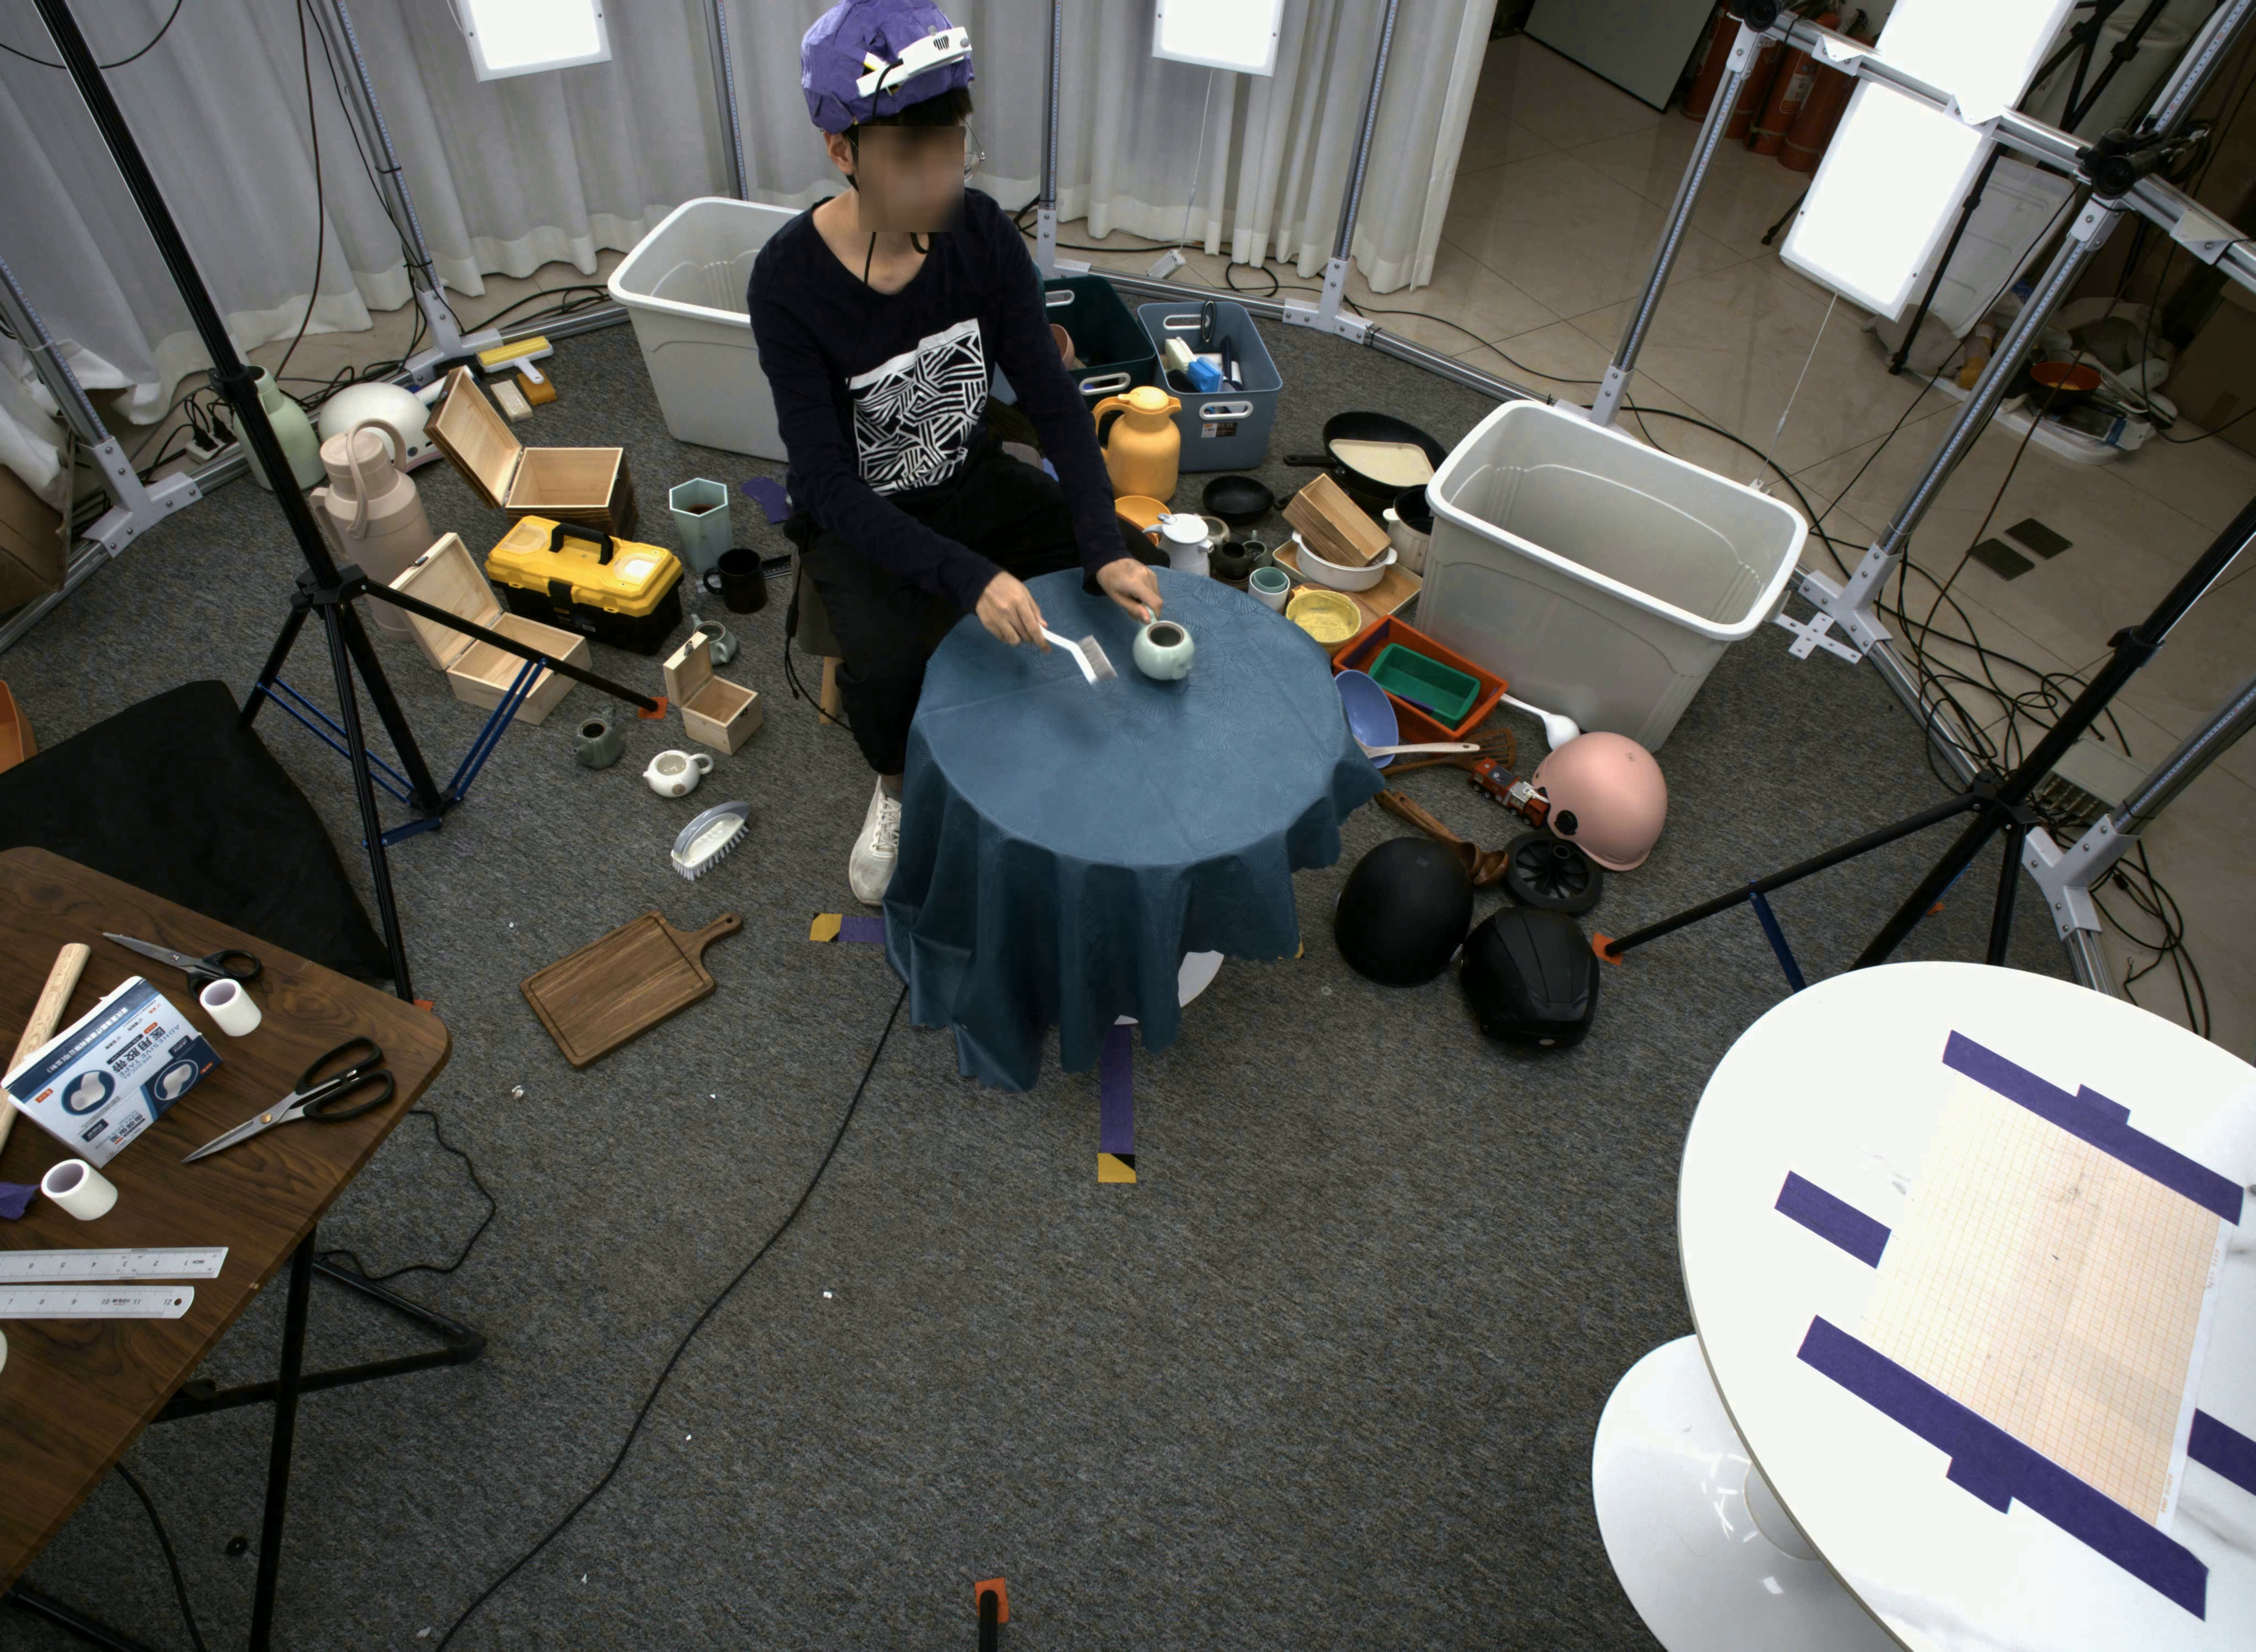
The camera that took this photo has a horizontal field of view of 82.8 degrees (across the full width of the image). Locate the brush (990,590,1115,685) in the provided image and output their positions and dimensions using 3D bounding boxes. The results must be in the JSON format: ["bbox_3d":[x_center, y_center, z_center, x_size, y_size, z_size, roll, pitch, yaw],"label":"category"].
[{"bbox_3d":[-0.105,-0.279,1.798,0.050,0.034,0.248,-49,59,3],"label":"brush"}]

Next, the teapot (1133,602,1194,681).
[{"bbox_3d":[0.051,-0.252,1.843,0.088,0.073,0.147,-17,55,-18],"label":"teapot"}]
